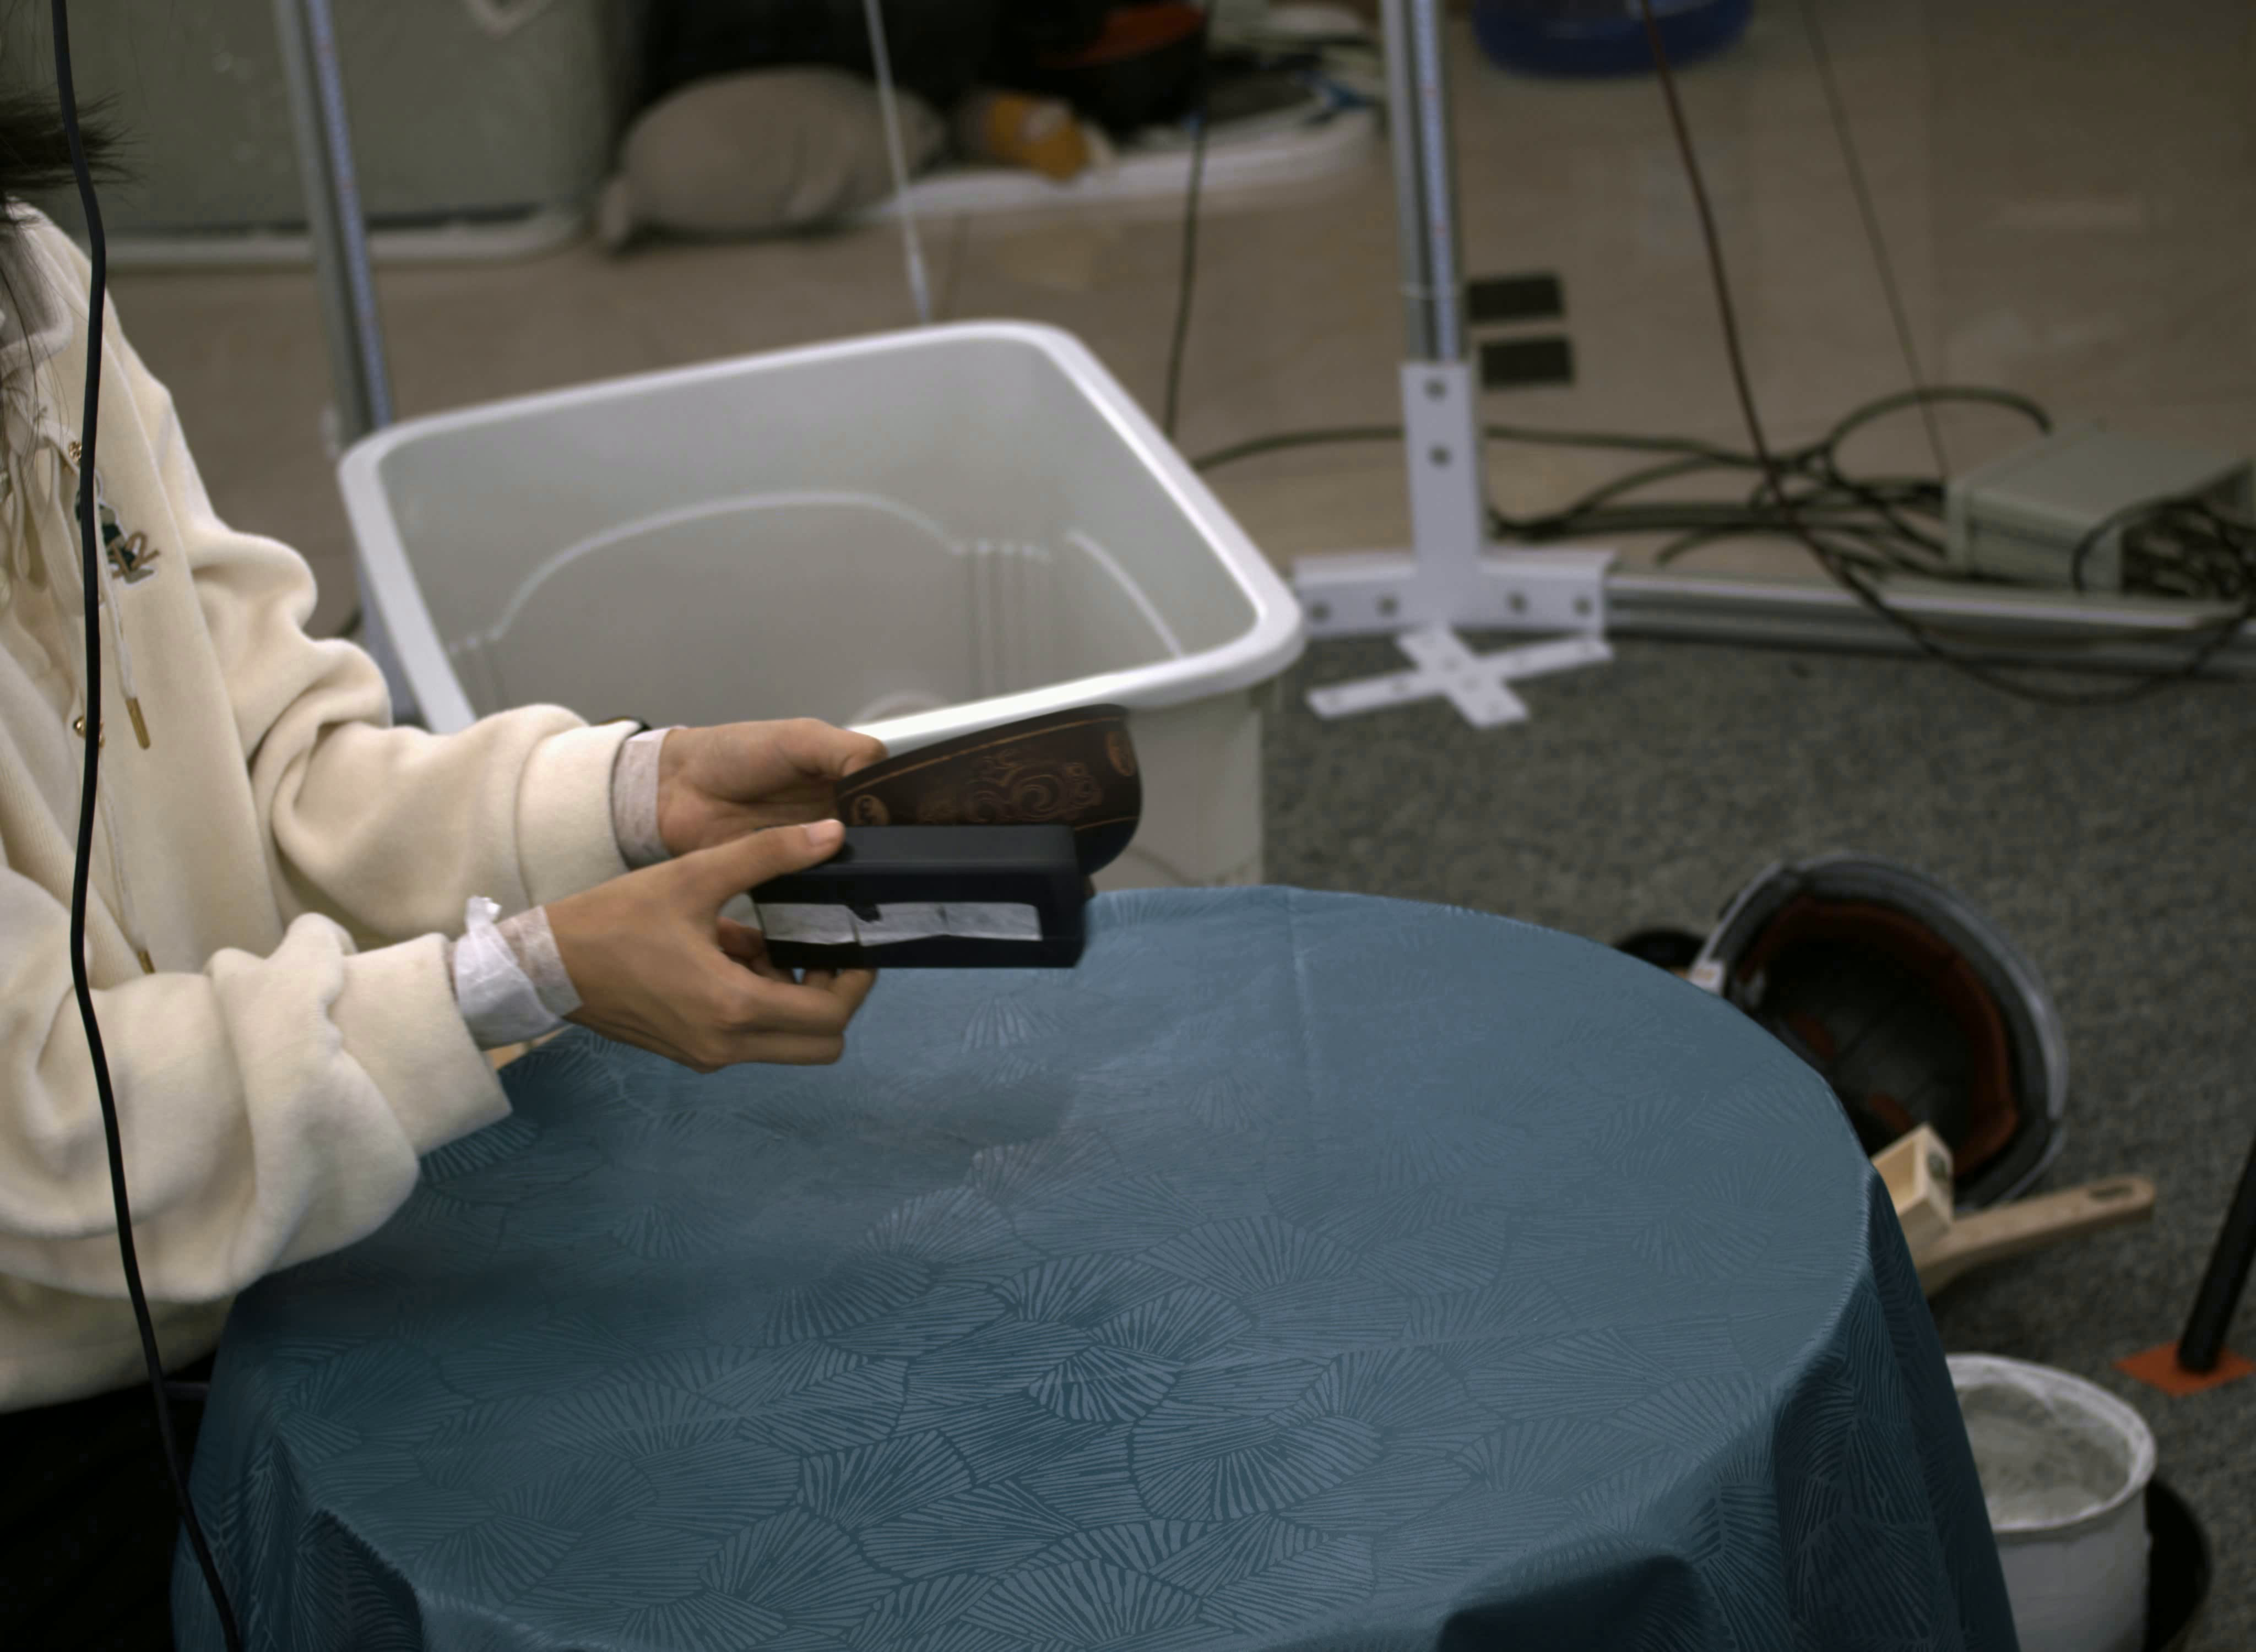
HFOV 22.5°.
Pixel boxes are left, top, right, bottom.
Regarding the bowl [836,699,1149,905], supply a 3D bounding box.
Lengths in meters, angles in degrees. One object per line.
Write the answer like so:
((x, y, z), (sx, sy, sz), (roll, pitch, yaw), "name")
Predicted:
((-0.046, 0.001, 2.153), (0.118, 0.070, 0.118), (-18, -3, -1), "bowl")

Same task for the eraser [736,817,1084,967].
((-0.080, 0.024, 2.099), (0.125, 0.054, 0.030), (-1, 36, 20), "eraser")
